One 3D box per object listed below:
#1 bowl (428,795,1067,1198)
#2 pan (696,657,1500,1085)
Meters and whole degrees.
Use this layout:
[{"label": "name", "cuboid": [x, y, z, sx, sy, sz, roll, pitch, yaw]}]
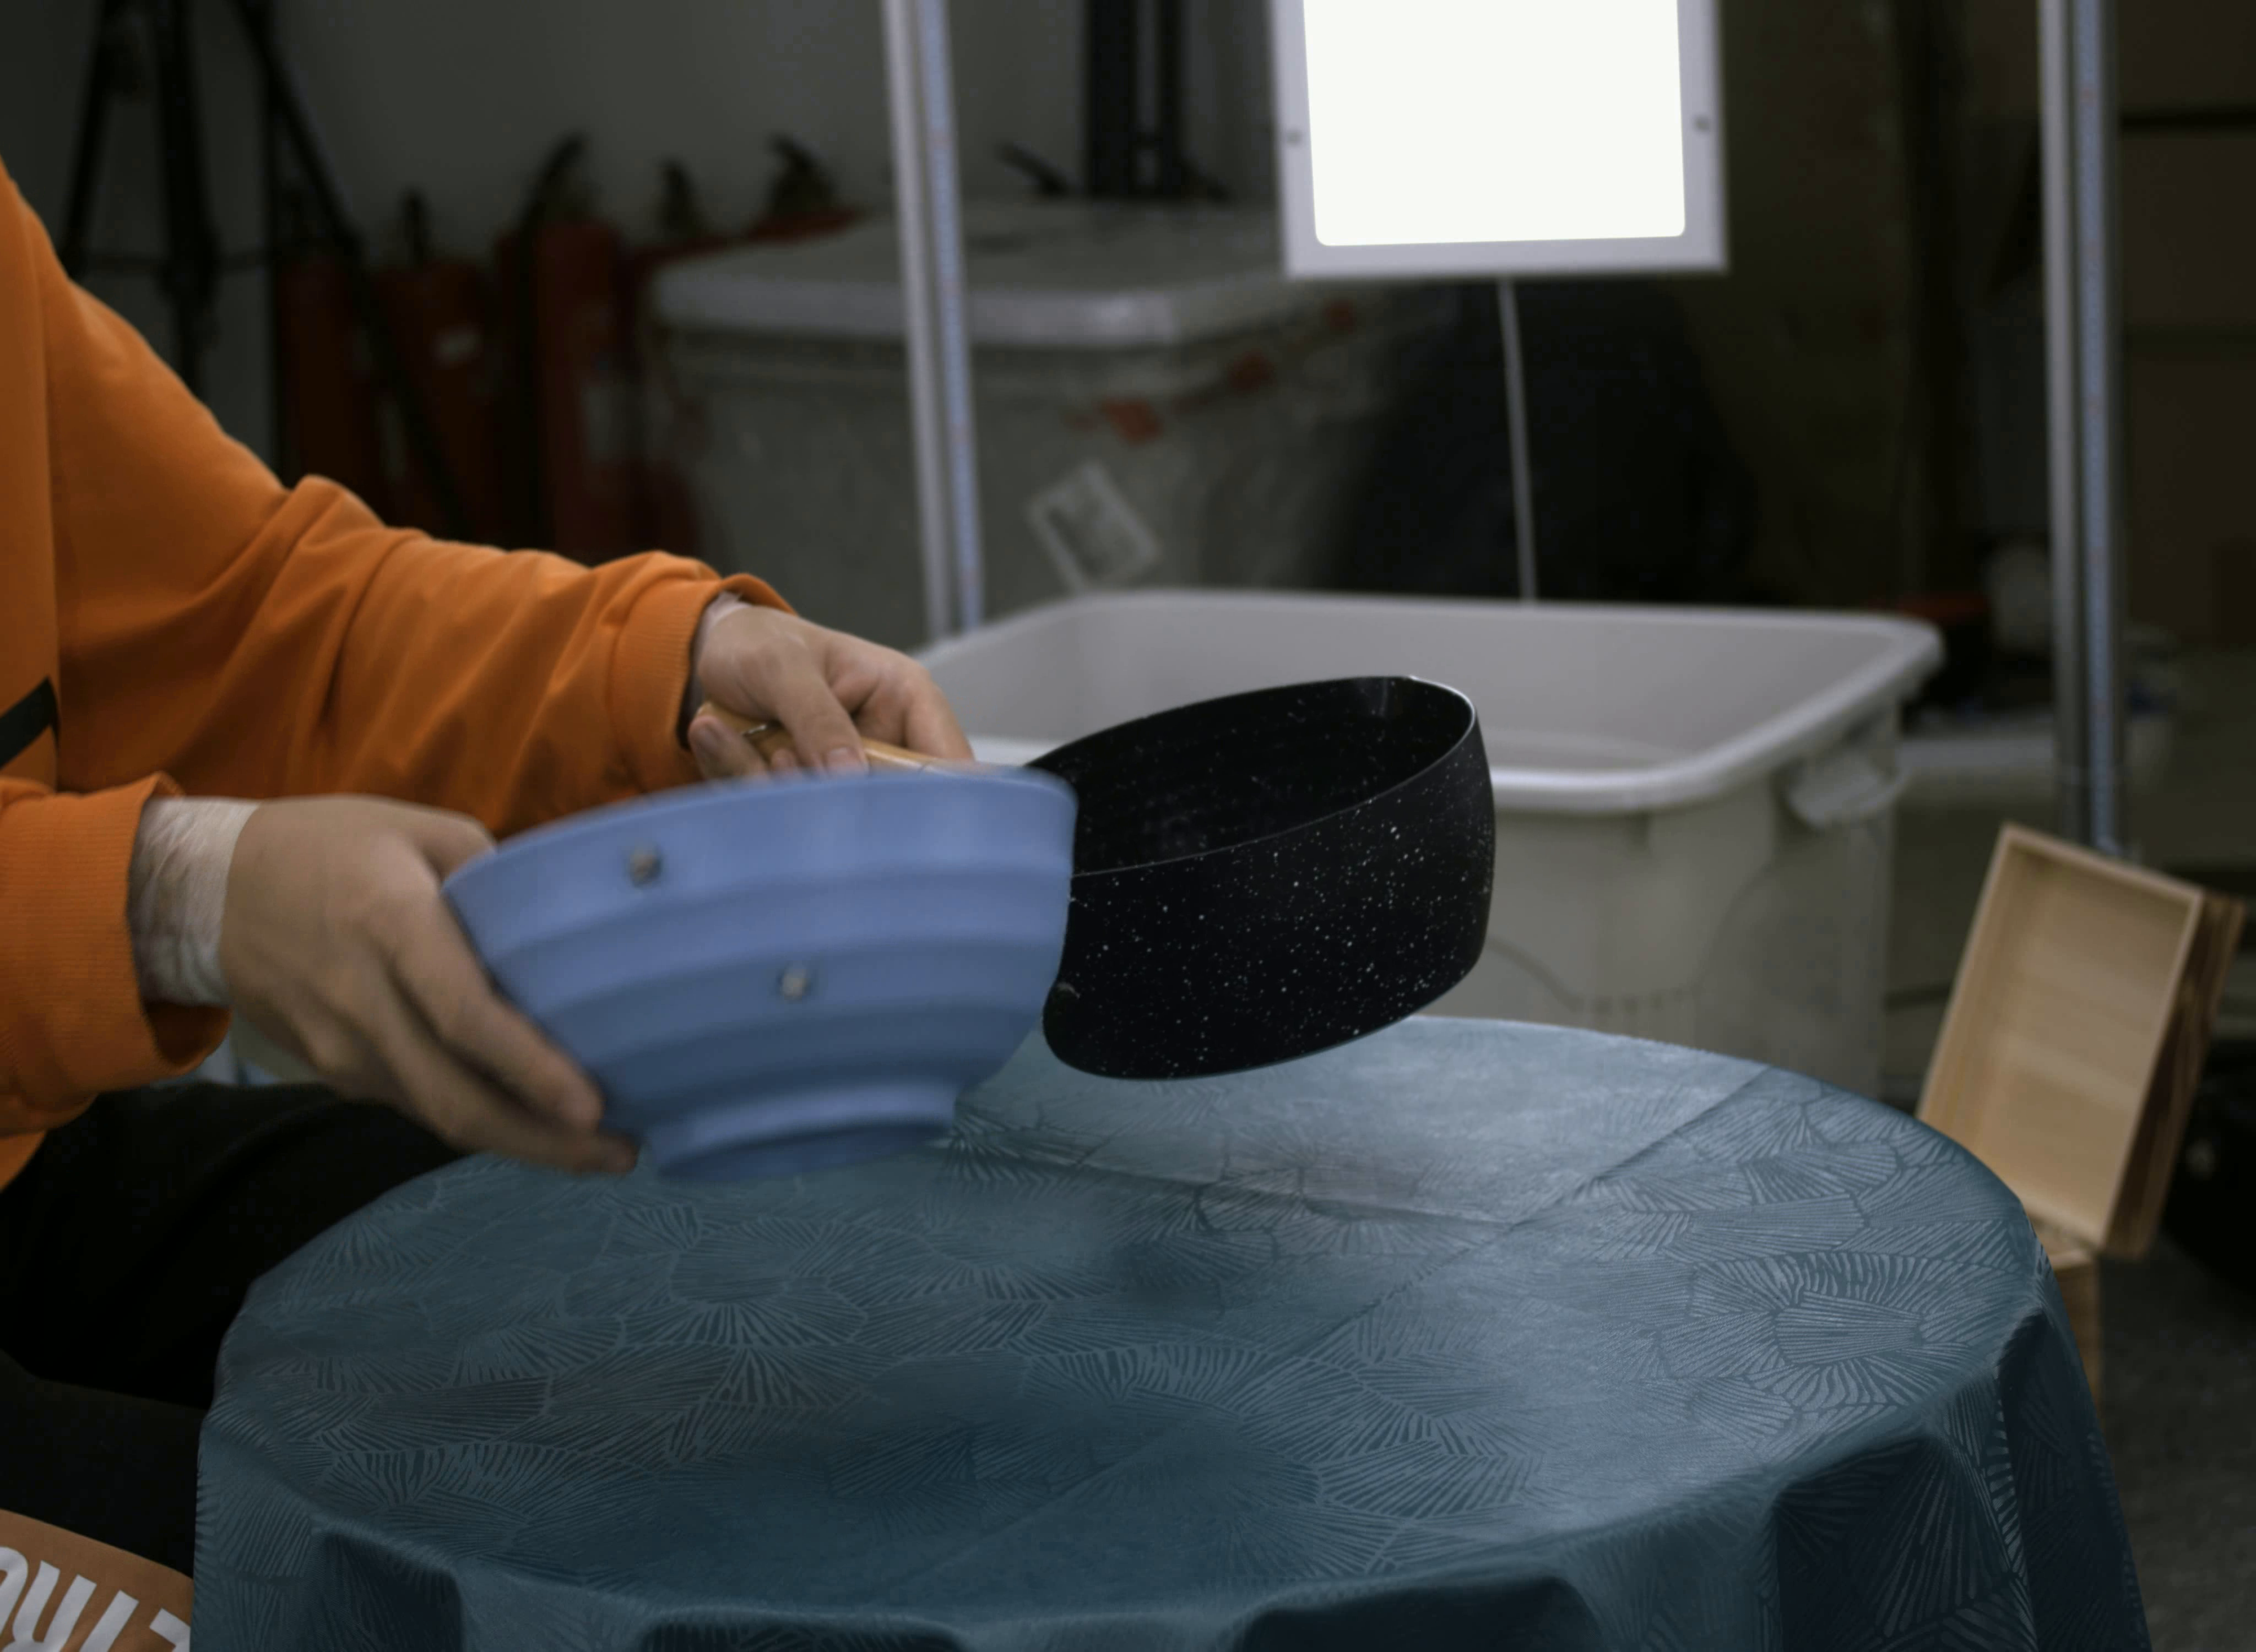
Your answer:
[{"label": "bowl", "cuboid": [-0.108, 0.058, 1.666, 0.195, 0.095, 0.197, -9, -8, -3]}, {"label": "pan", "cuboid": [-0.022, 0.007, 1.916, 0.350, 0.108, 0.202, 2, 24, 44]}]
